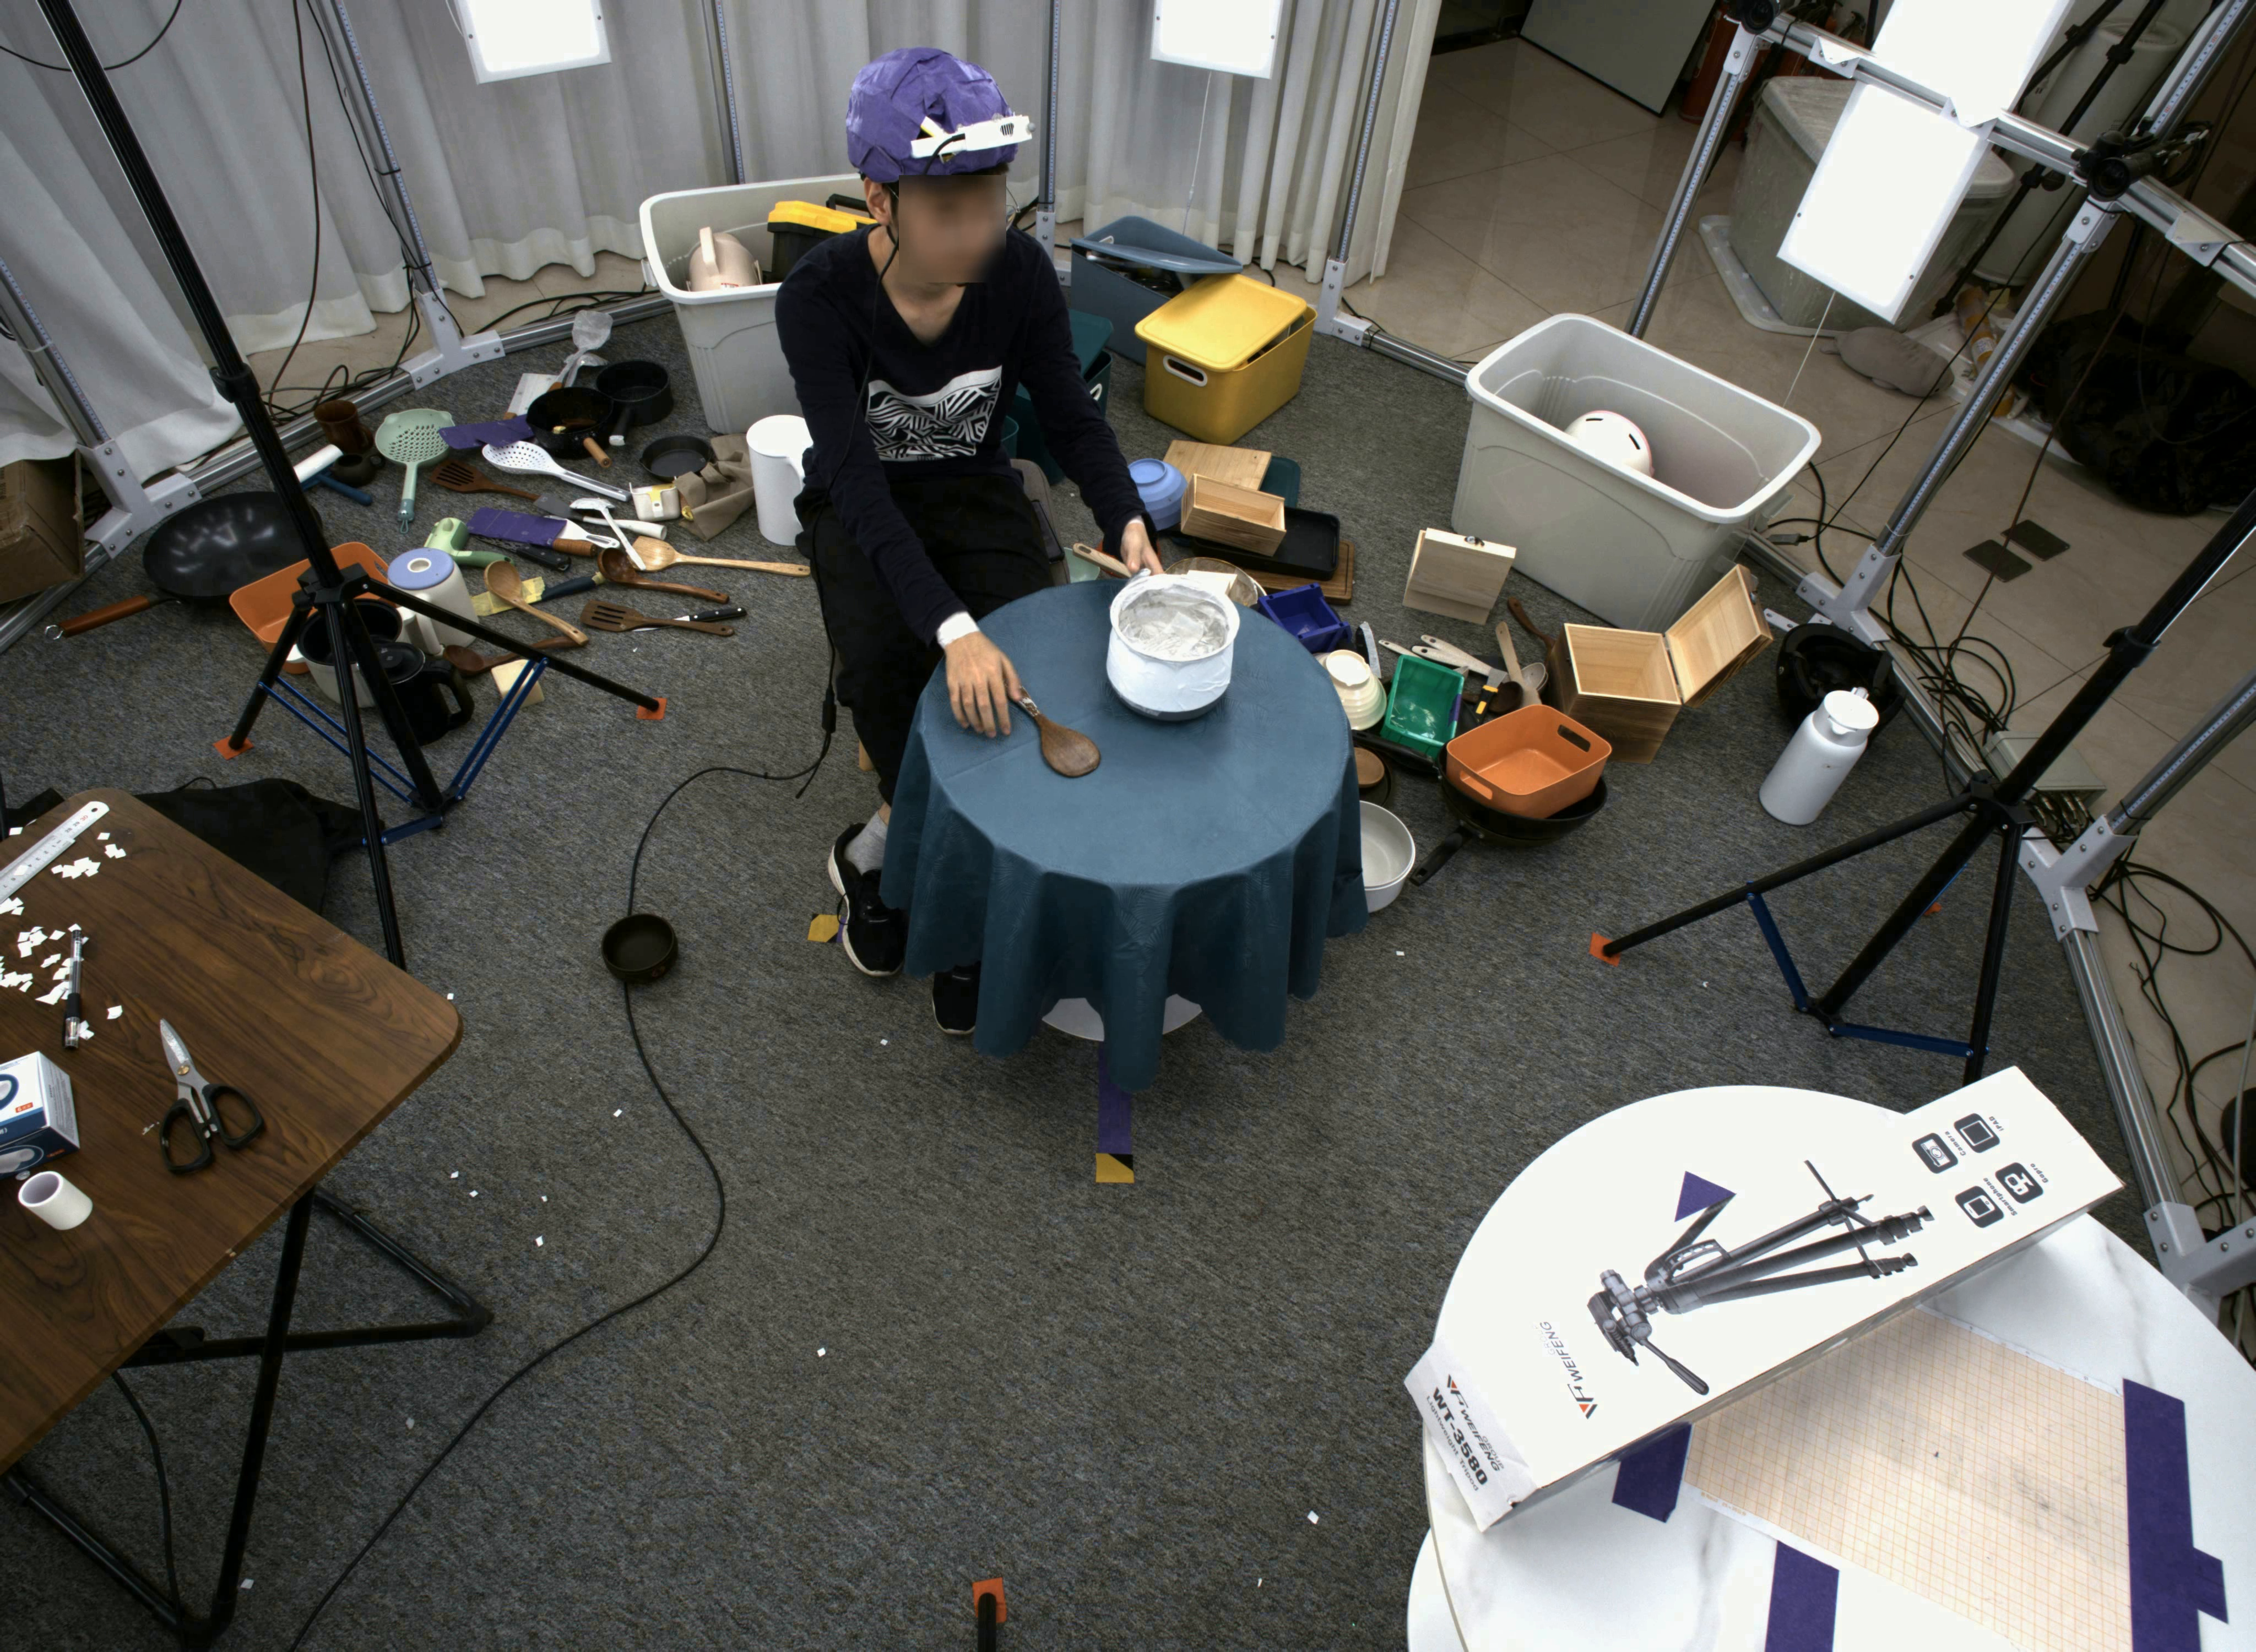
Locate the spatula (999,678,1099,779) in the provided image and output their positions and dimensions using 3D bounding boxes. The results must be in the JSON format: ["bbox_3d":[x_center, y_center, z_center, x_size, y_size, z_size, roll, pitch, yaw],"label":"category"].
[{"bbox_3d":[-0.116,-0.141,1.779,0.072,0.009,0.220,-24,54,-25],"label":"spatula"}]

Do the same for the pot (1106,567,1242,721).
[{"bbox_3d":[0.049,-0.266,1.811,0.179,0.133,0.239,-16,53,-20],"label":"pot"}]
